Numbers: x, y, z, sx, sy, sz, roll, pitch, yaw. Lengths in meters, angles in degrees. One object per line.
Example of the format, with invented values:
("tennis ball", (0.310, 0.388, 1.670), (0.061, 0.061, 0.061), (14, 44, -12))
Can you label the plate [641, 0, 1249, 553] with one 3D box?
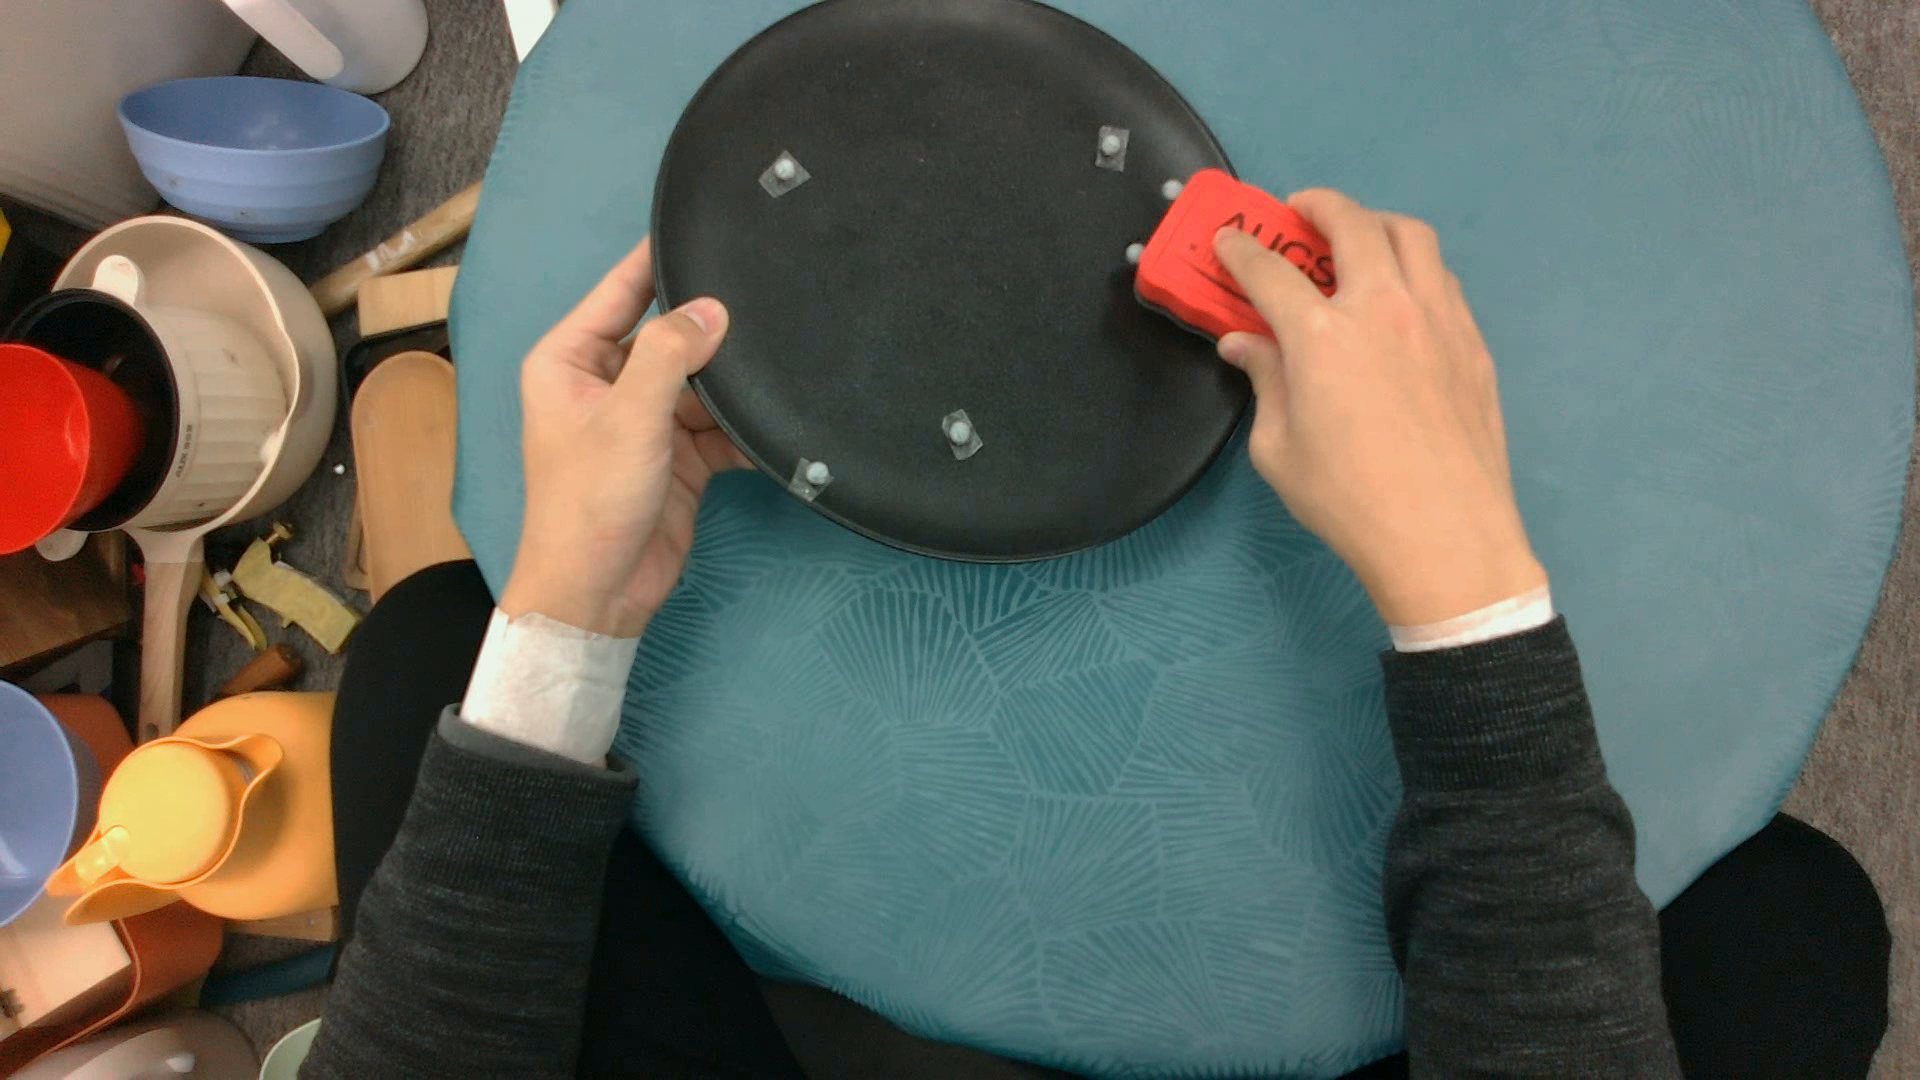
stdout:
("plate", (-0.001, -0.110, 0.541), (0.244, 0.023, 0.245), (4, 74, -13))

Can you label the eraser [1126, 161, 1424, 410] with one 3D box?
("eraser", (0.123, -0.101, 0.545), (0.108, 0.023, 0.059), (32, 79, 10))
